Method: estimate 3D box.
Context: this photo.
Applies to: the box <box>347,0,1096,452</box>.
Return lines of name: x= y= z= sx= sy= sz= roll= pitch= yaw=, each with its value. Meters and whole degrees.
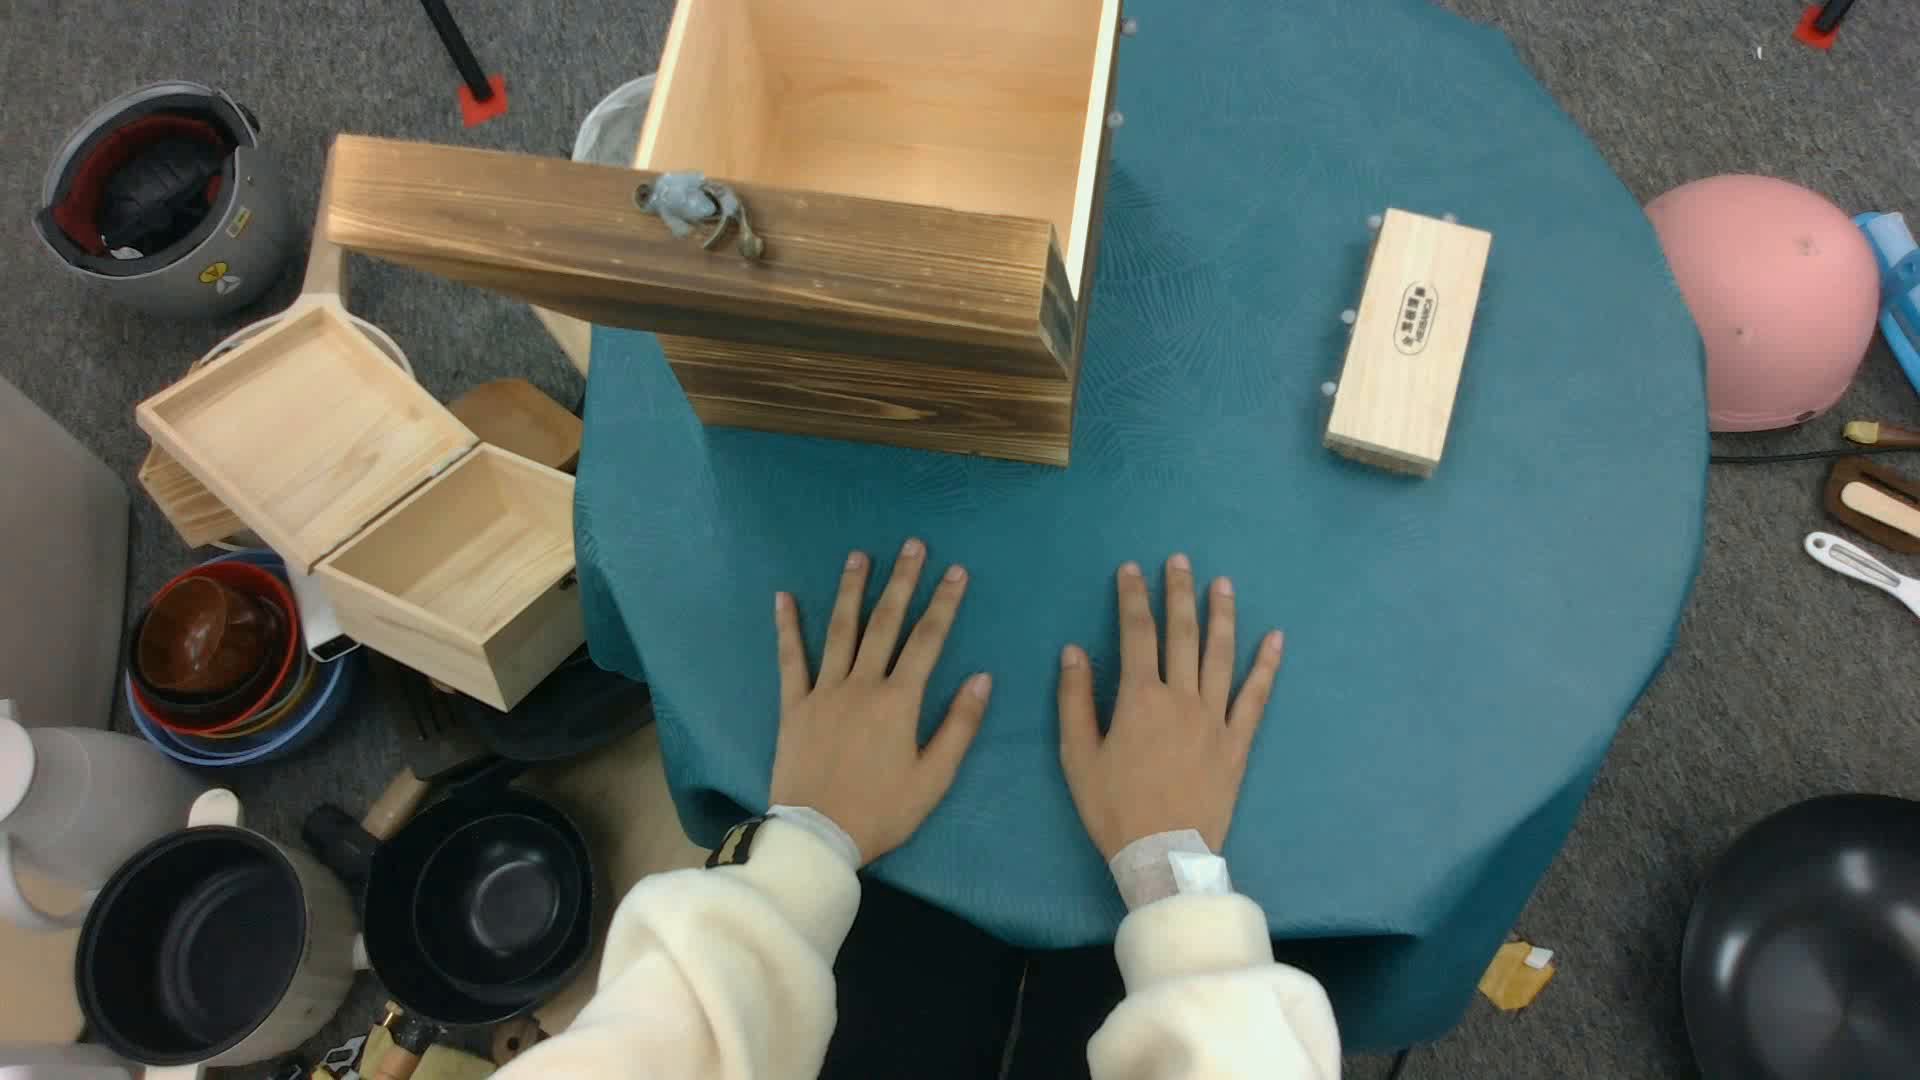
box: x=-0.050 y=-0.168 z=0.582 sx=0.208 sy=0.374 sz=0.323 roll=6 pitch=69 yaw=4

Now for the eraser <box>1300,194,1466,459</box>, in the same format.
eraser: x=0.223 y=-0.114 z=0.729 sx=0.057 sy=0.029 sz=0.140 roll=18 pitch=71 yaw=6
